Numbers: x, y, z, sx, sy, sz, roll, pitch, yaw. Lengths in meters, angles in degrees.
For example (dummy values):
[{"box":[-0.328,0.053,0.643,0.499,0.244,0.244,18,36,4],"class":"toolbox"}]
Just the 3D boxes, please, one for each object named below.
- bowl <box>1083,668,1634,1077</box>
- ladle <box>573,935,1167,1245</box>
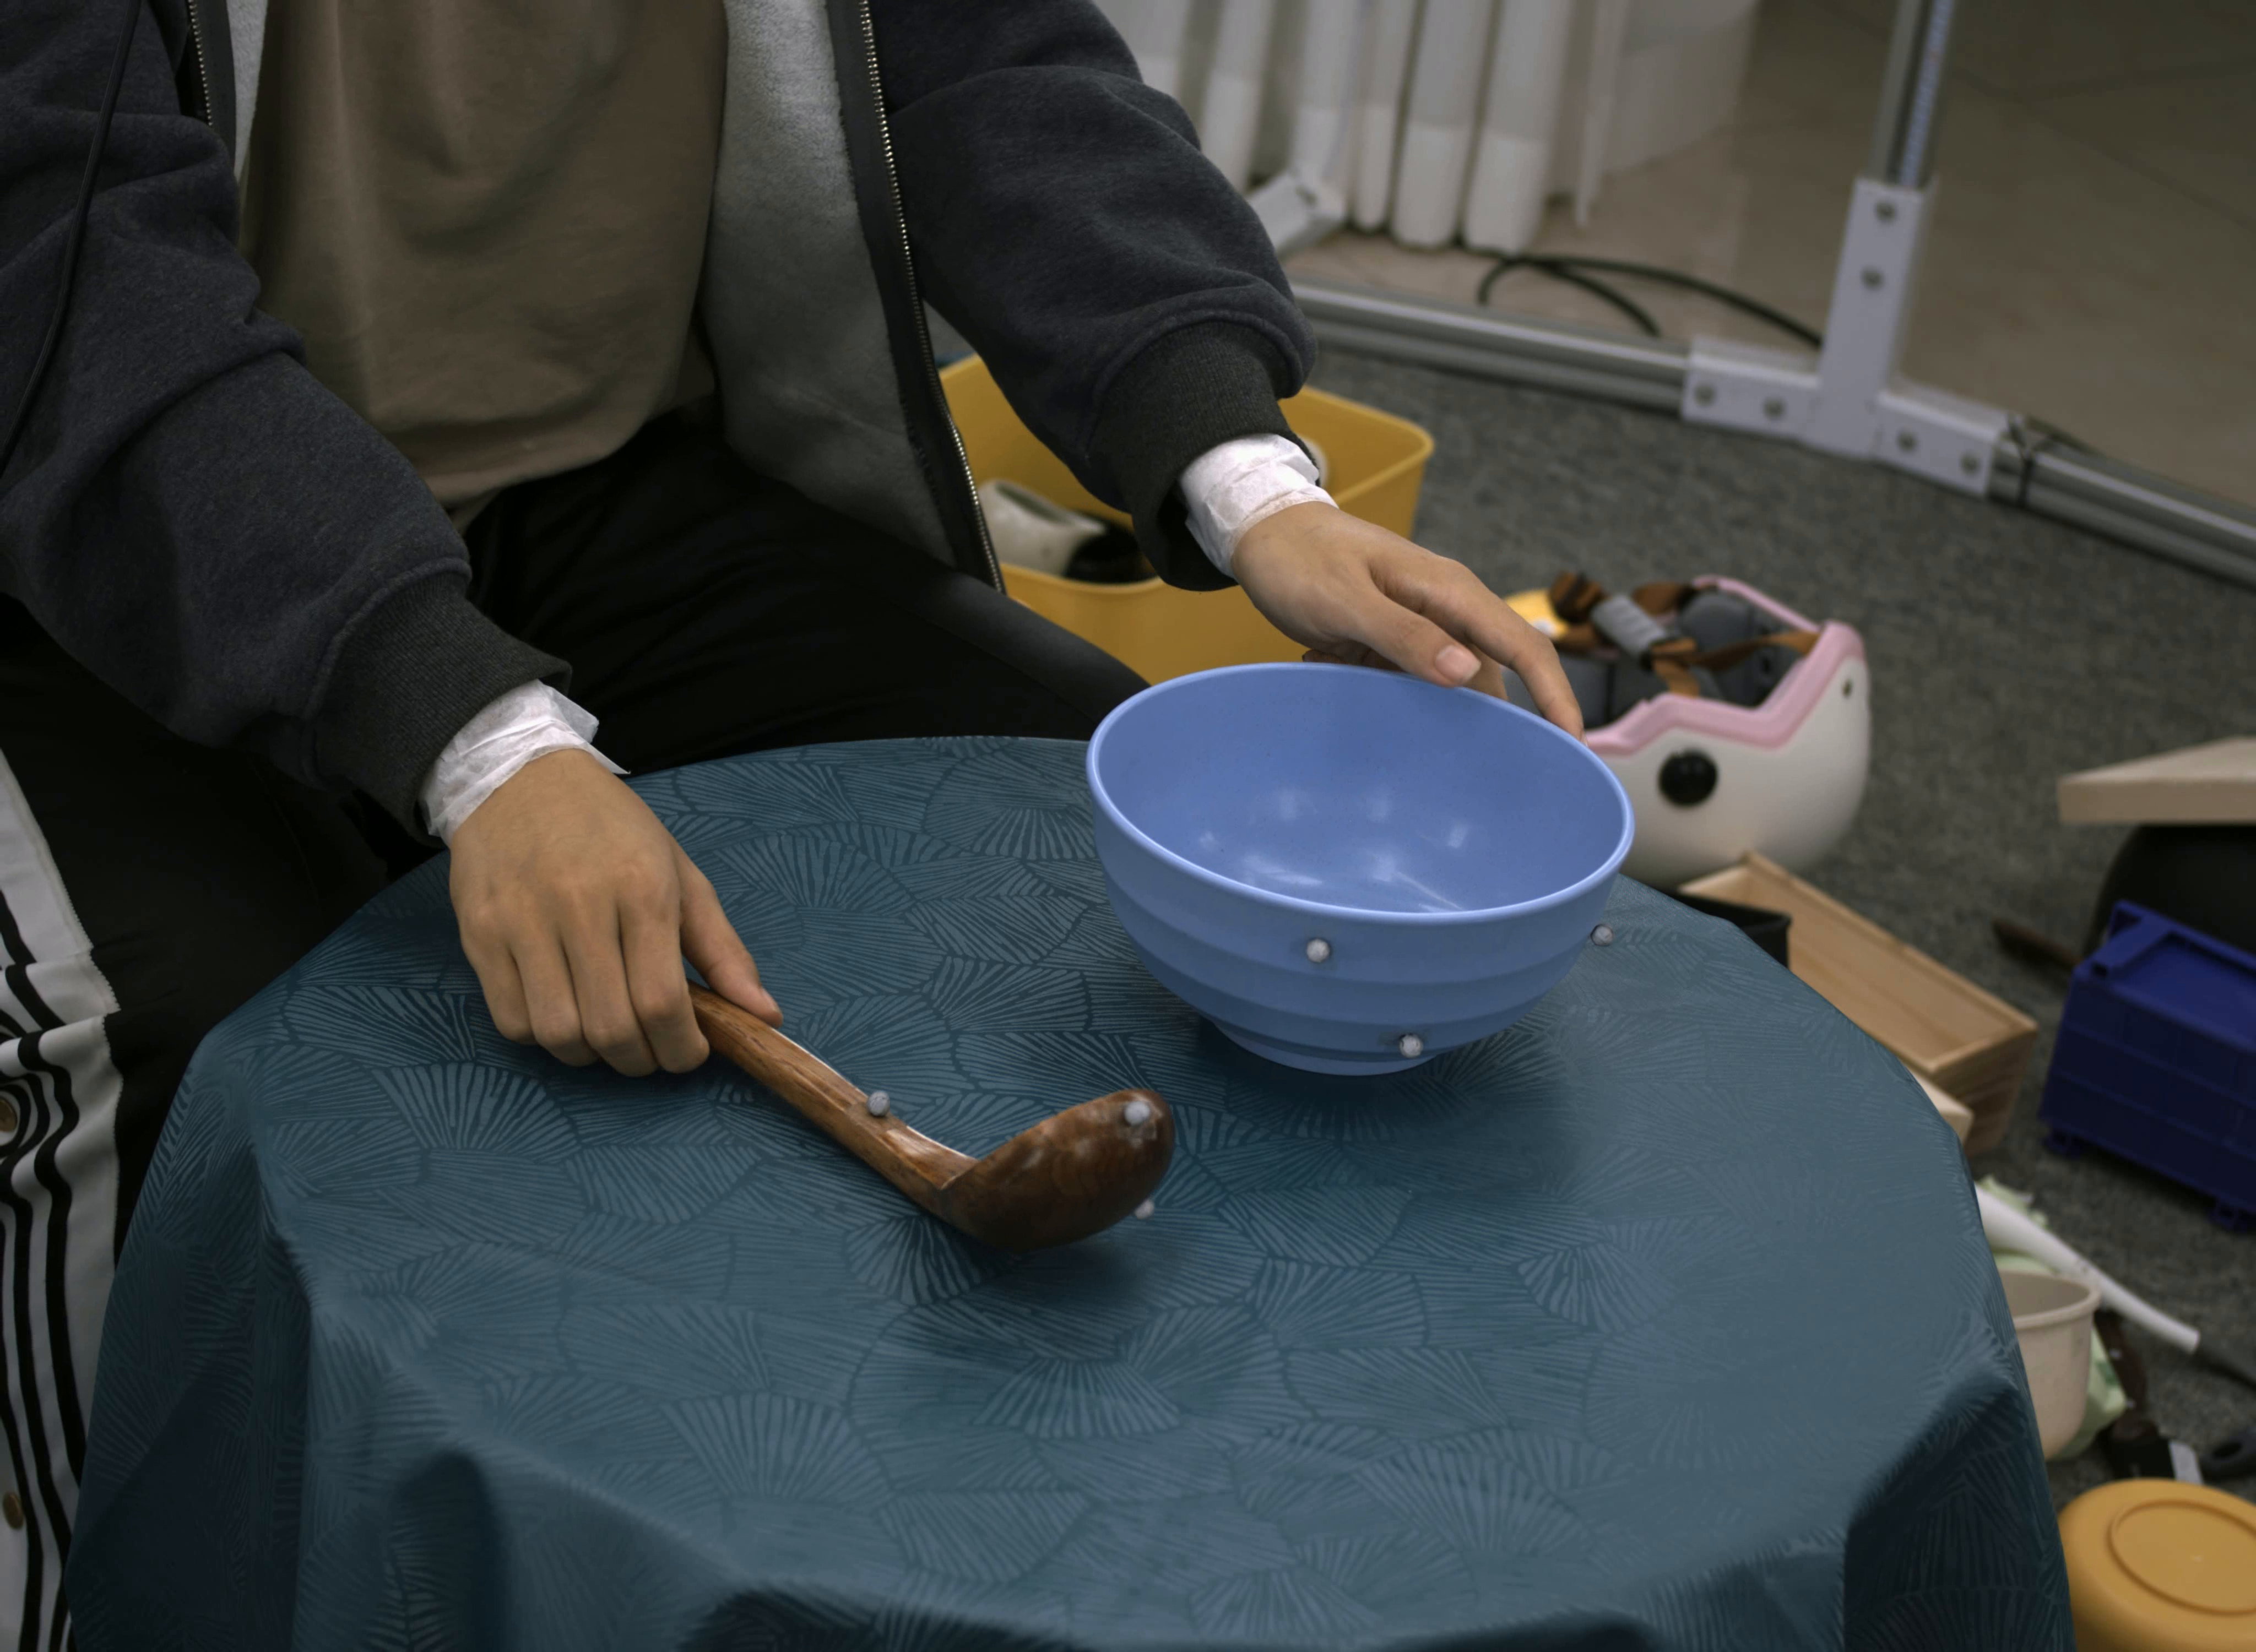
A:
[{"box":[0.078,0.027,1.906,0.196,0.095,0.197,4,26,-2],"class":"bowl"},{"box":[-0.096,0.068,1.801,0.081,0.076,0.276,-4,27,-45],"class":"ladle"}]
